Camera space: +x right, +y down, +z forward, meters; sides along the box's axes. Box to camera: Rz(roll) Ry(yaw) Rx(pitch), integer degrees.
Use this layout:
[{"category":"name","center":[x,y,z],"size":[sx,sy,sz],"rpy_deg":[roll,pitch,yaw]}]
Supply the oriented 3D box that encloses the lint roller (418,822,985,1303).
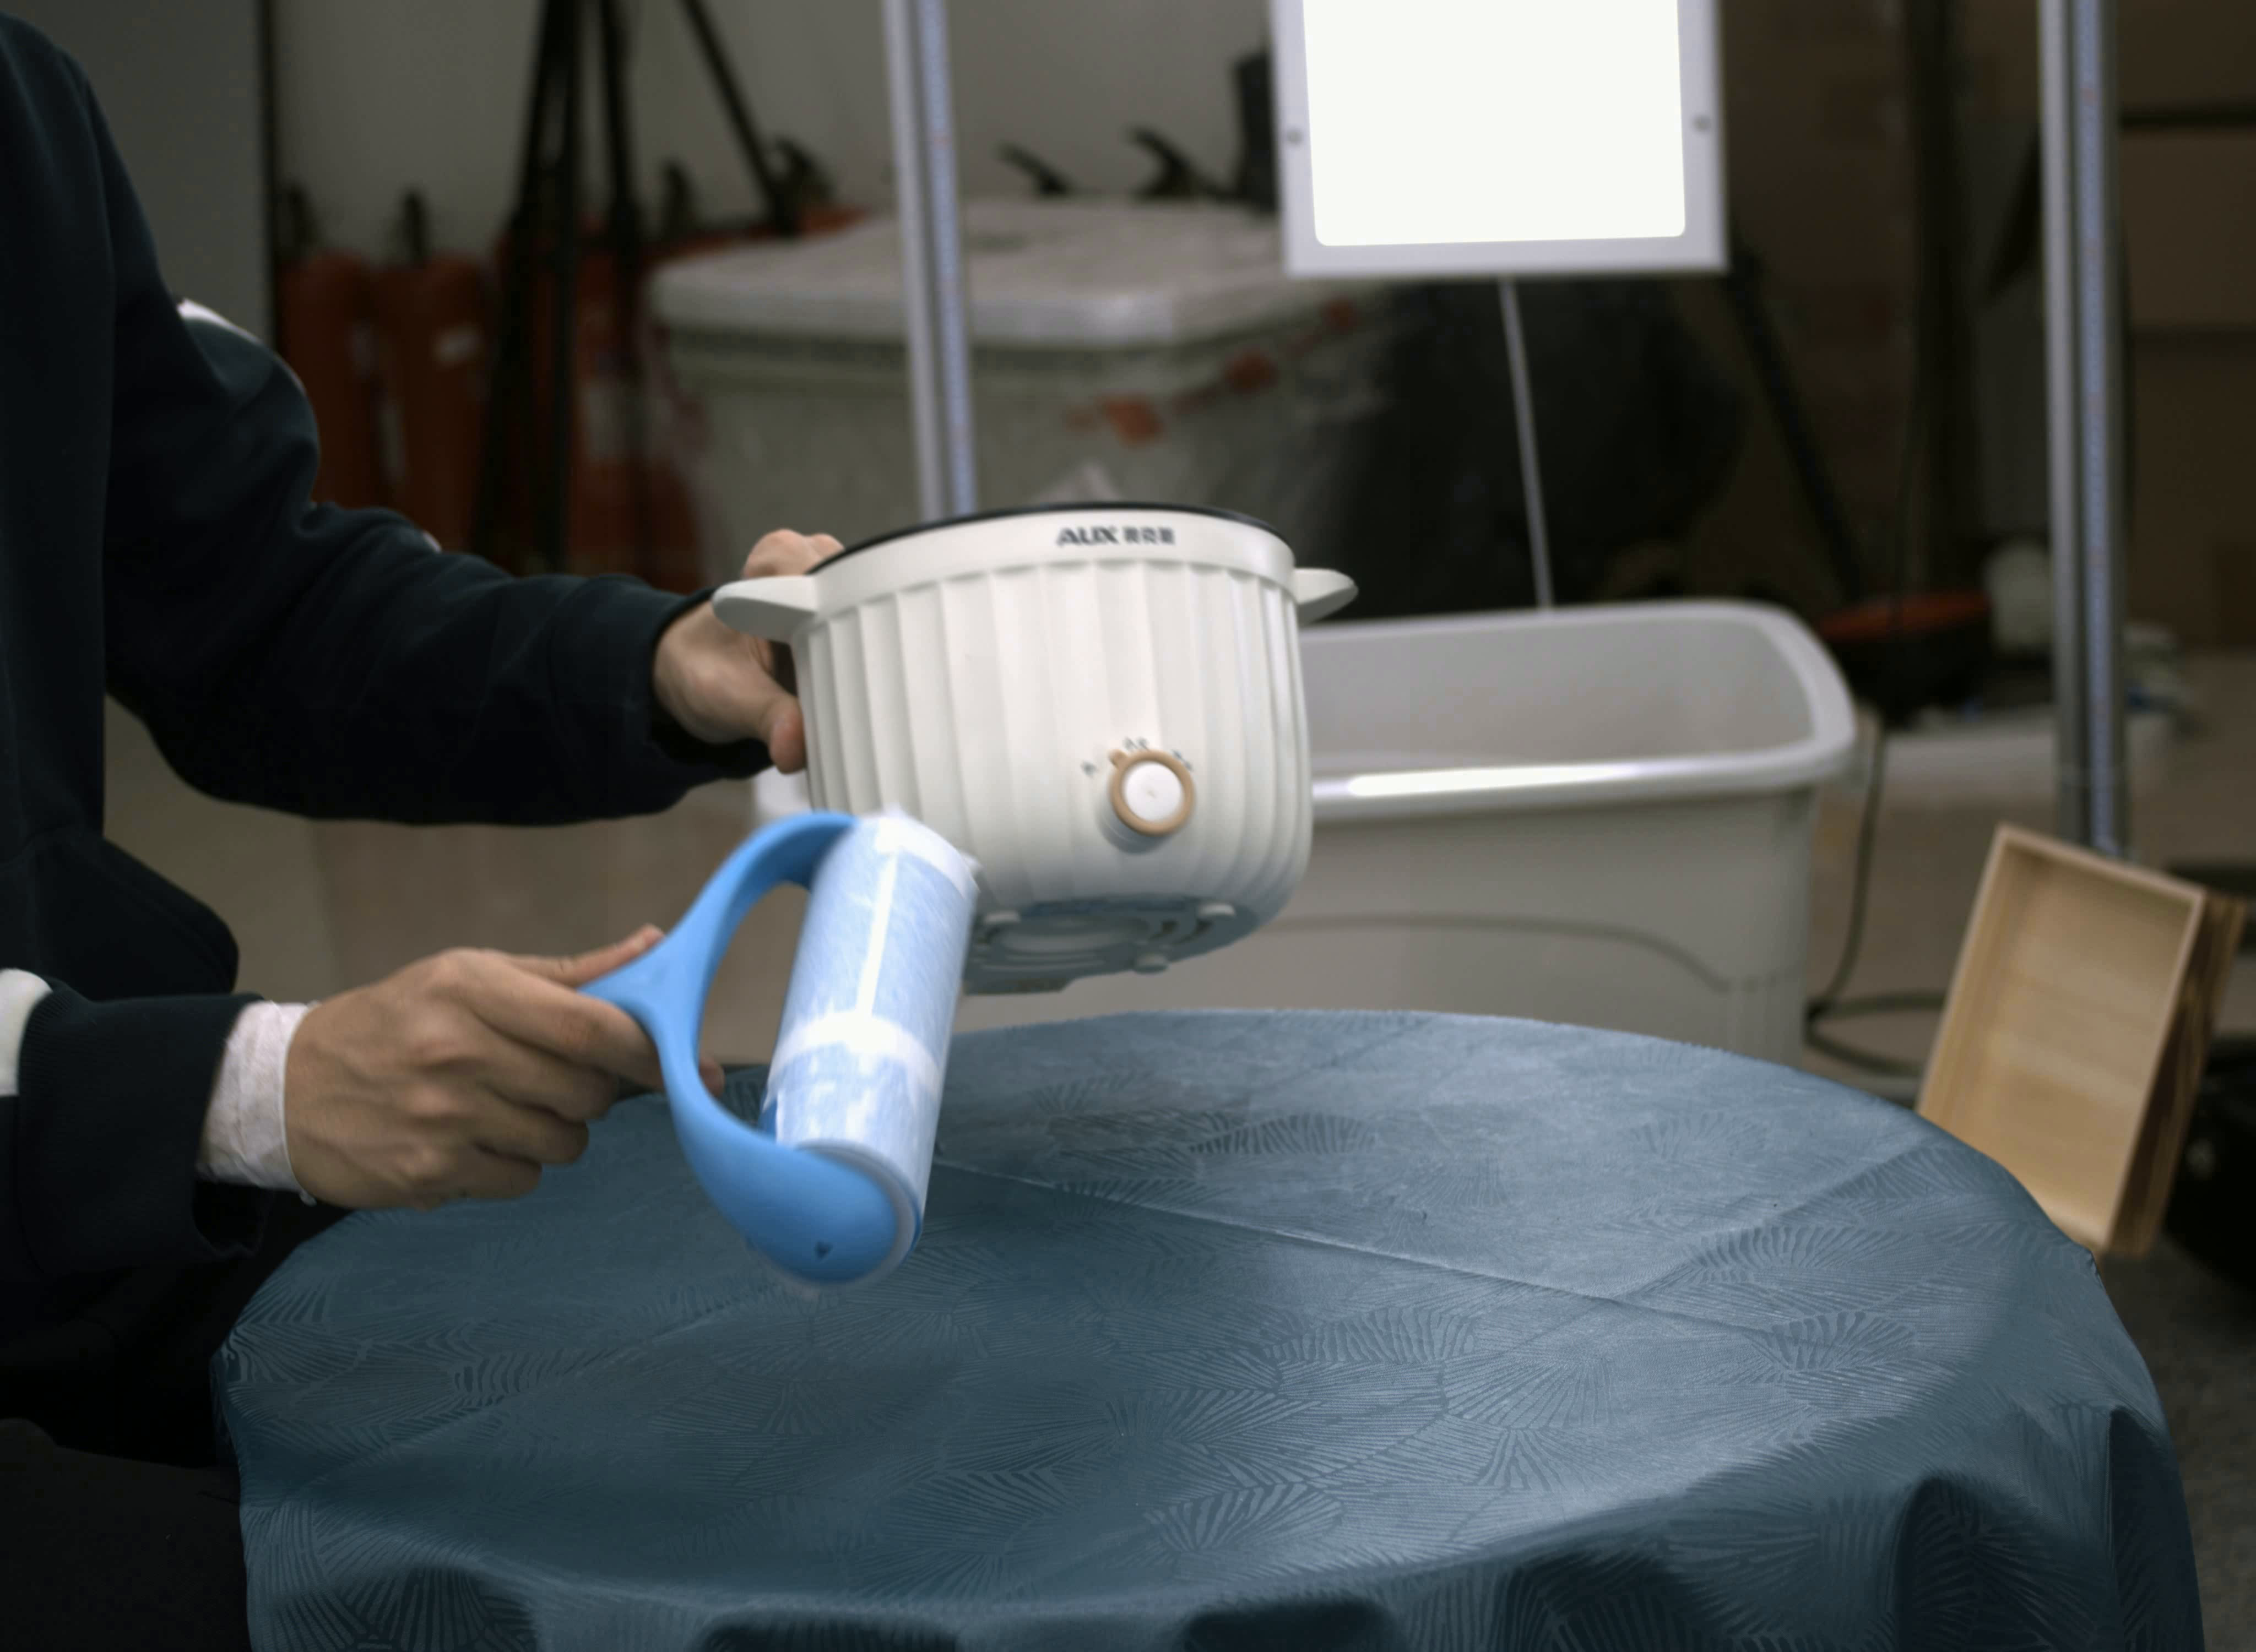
[{"category":"lint roller","center":[-0.136,0.077,1.690],"size":[0.181,0.068,0.228],"rpy_deg":[-8,29,6]}]

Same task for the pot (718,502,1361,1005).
[{"category":"pot","center":[-0.019,-0.023,1.935],"size":[0.236,0.143,0.193],"rpy_deg":[-3,-17,-18]}]
